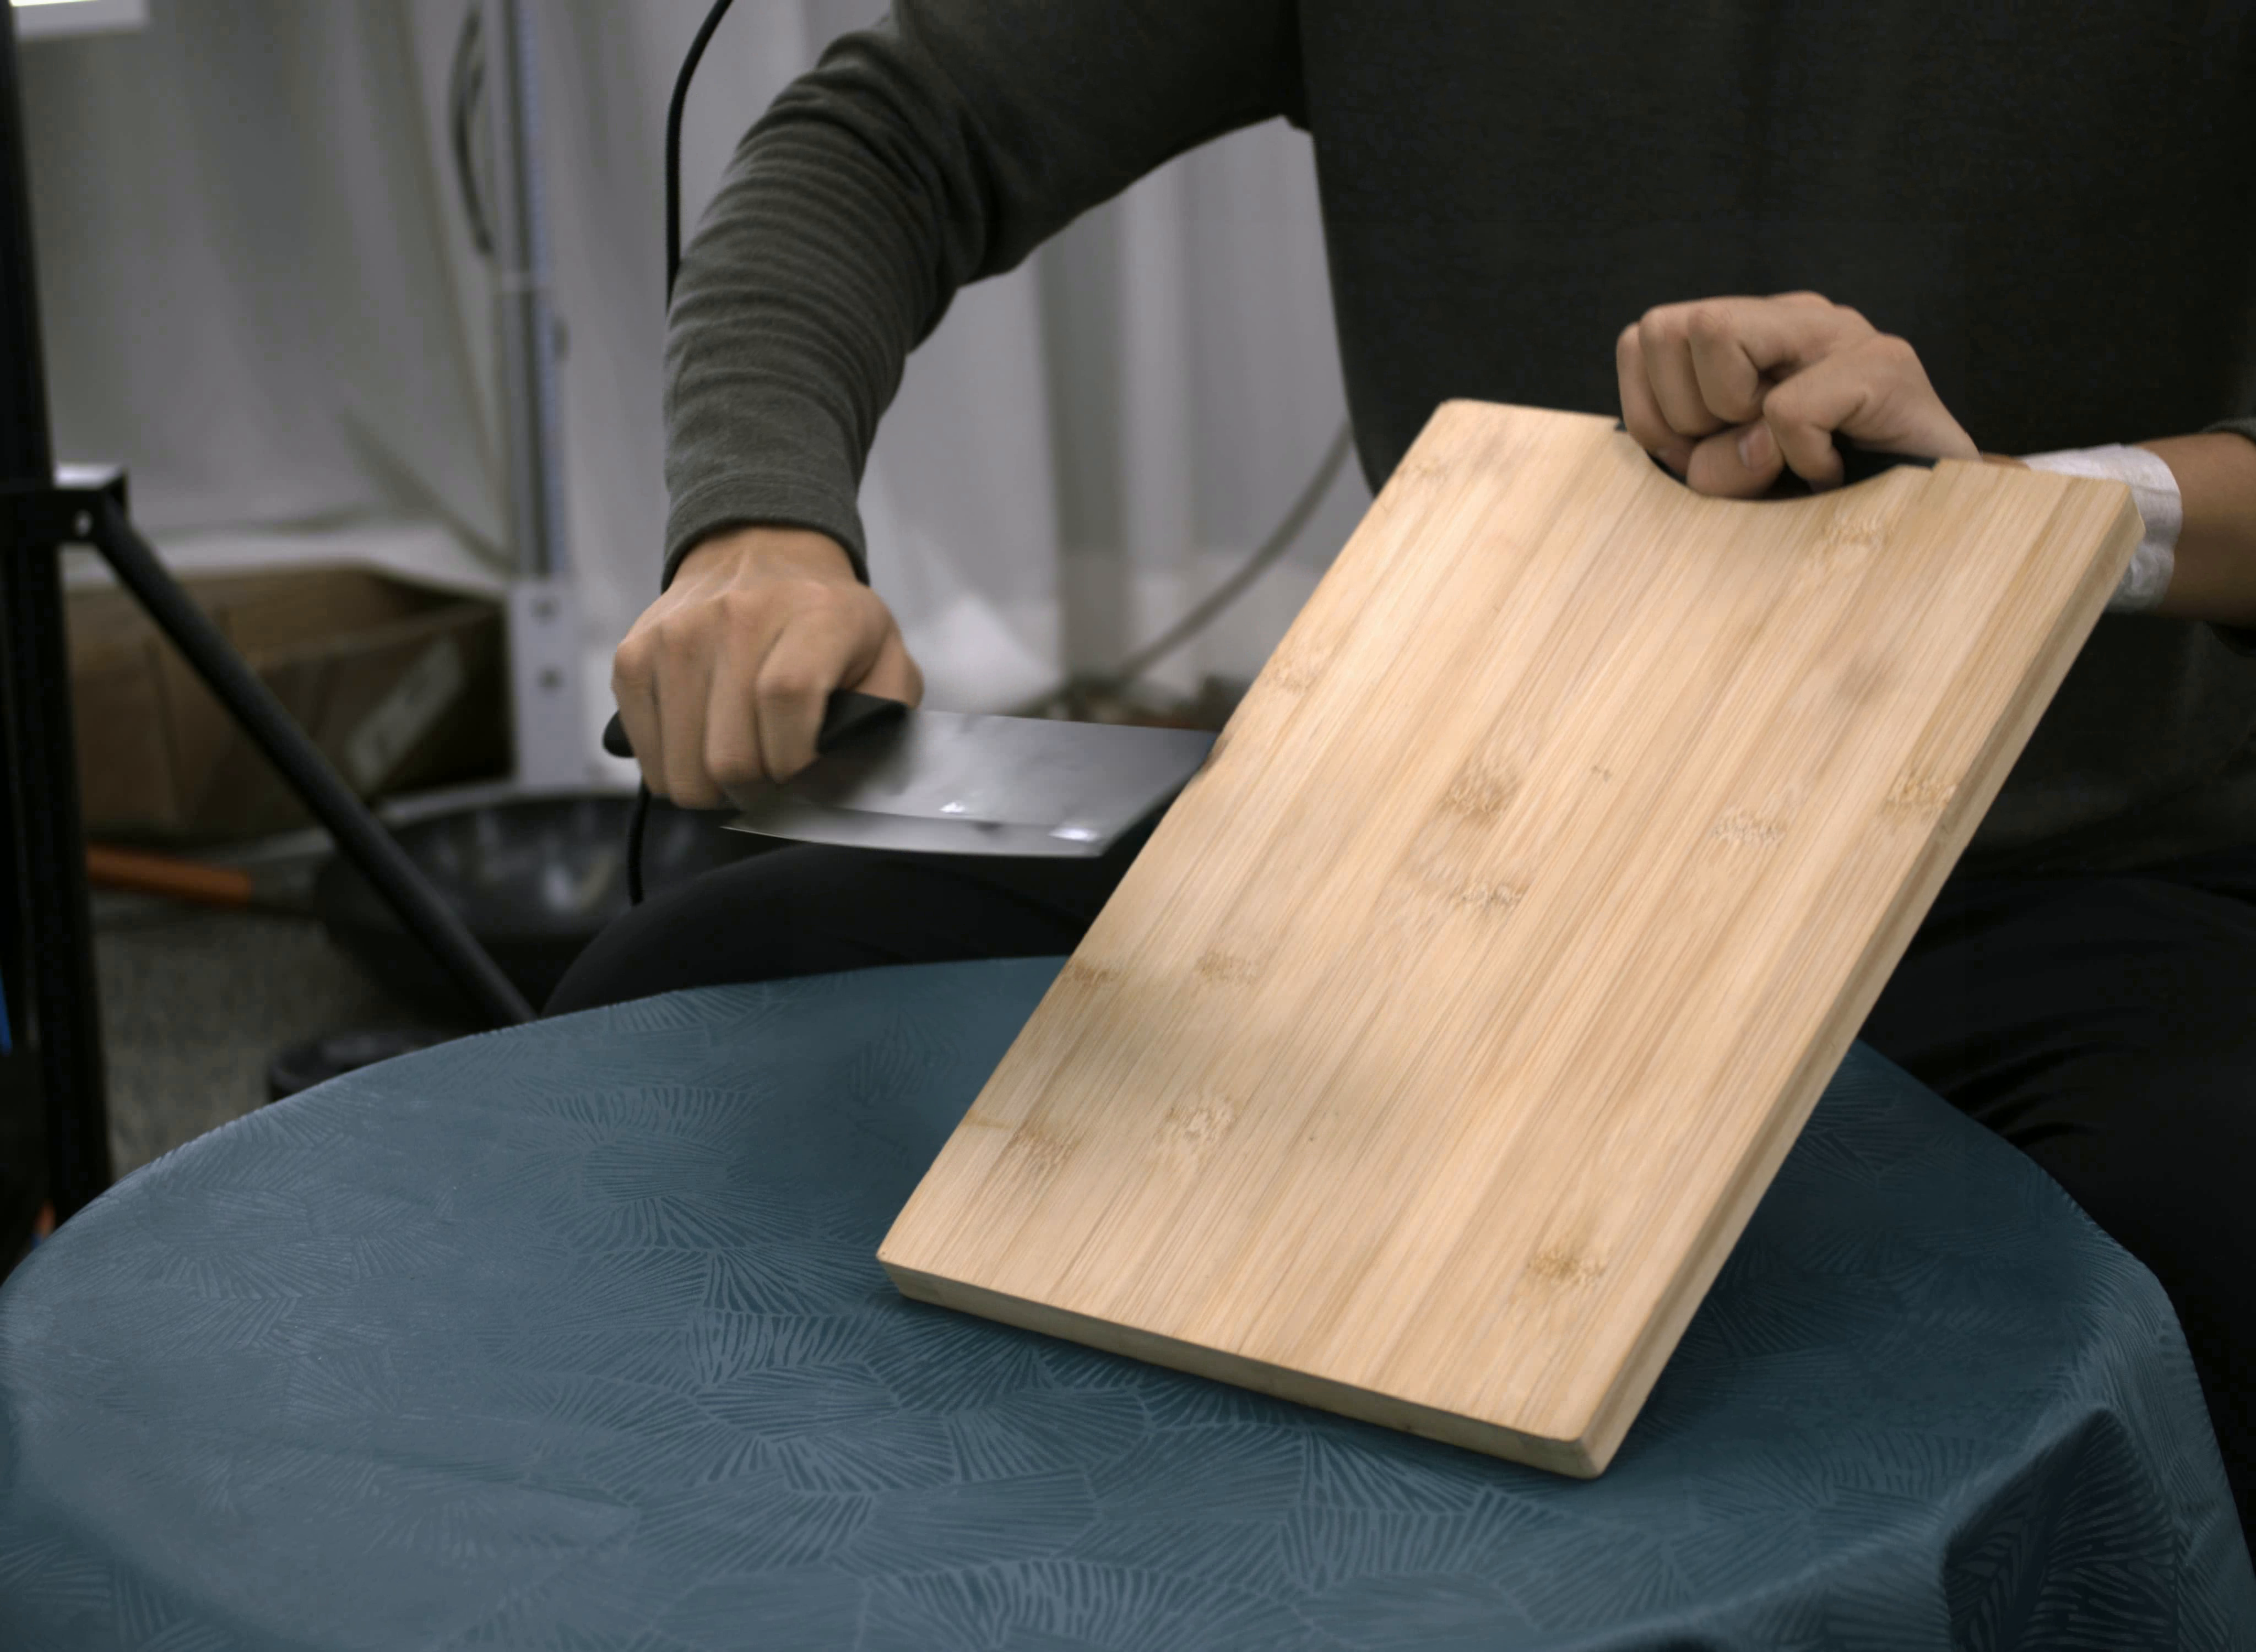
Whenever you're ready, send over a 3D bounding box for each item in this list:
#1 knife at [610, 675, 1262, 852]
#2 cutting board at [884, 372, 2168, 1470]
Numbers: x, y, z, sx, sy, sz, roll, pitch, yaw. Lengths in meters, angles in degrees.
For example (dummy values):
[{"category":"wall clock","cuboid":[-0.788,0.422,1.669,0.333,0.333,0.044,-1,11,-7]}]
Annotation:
[{"category":"knife","cuboid":[-0.069,-0.018,1.535,0.080,0.020,0.308,-36,23,-23]},{"category":"cutting board","cuboid":[0.111,0.014,1.483,0.256,0.023,0.347,10,56,39]}]
